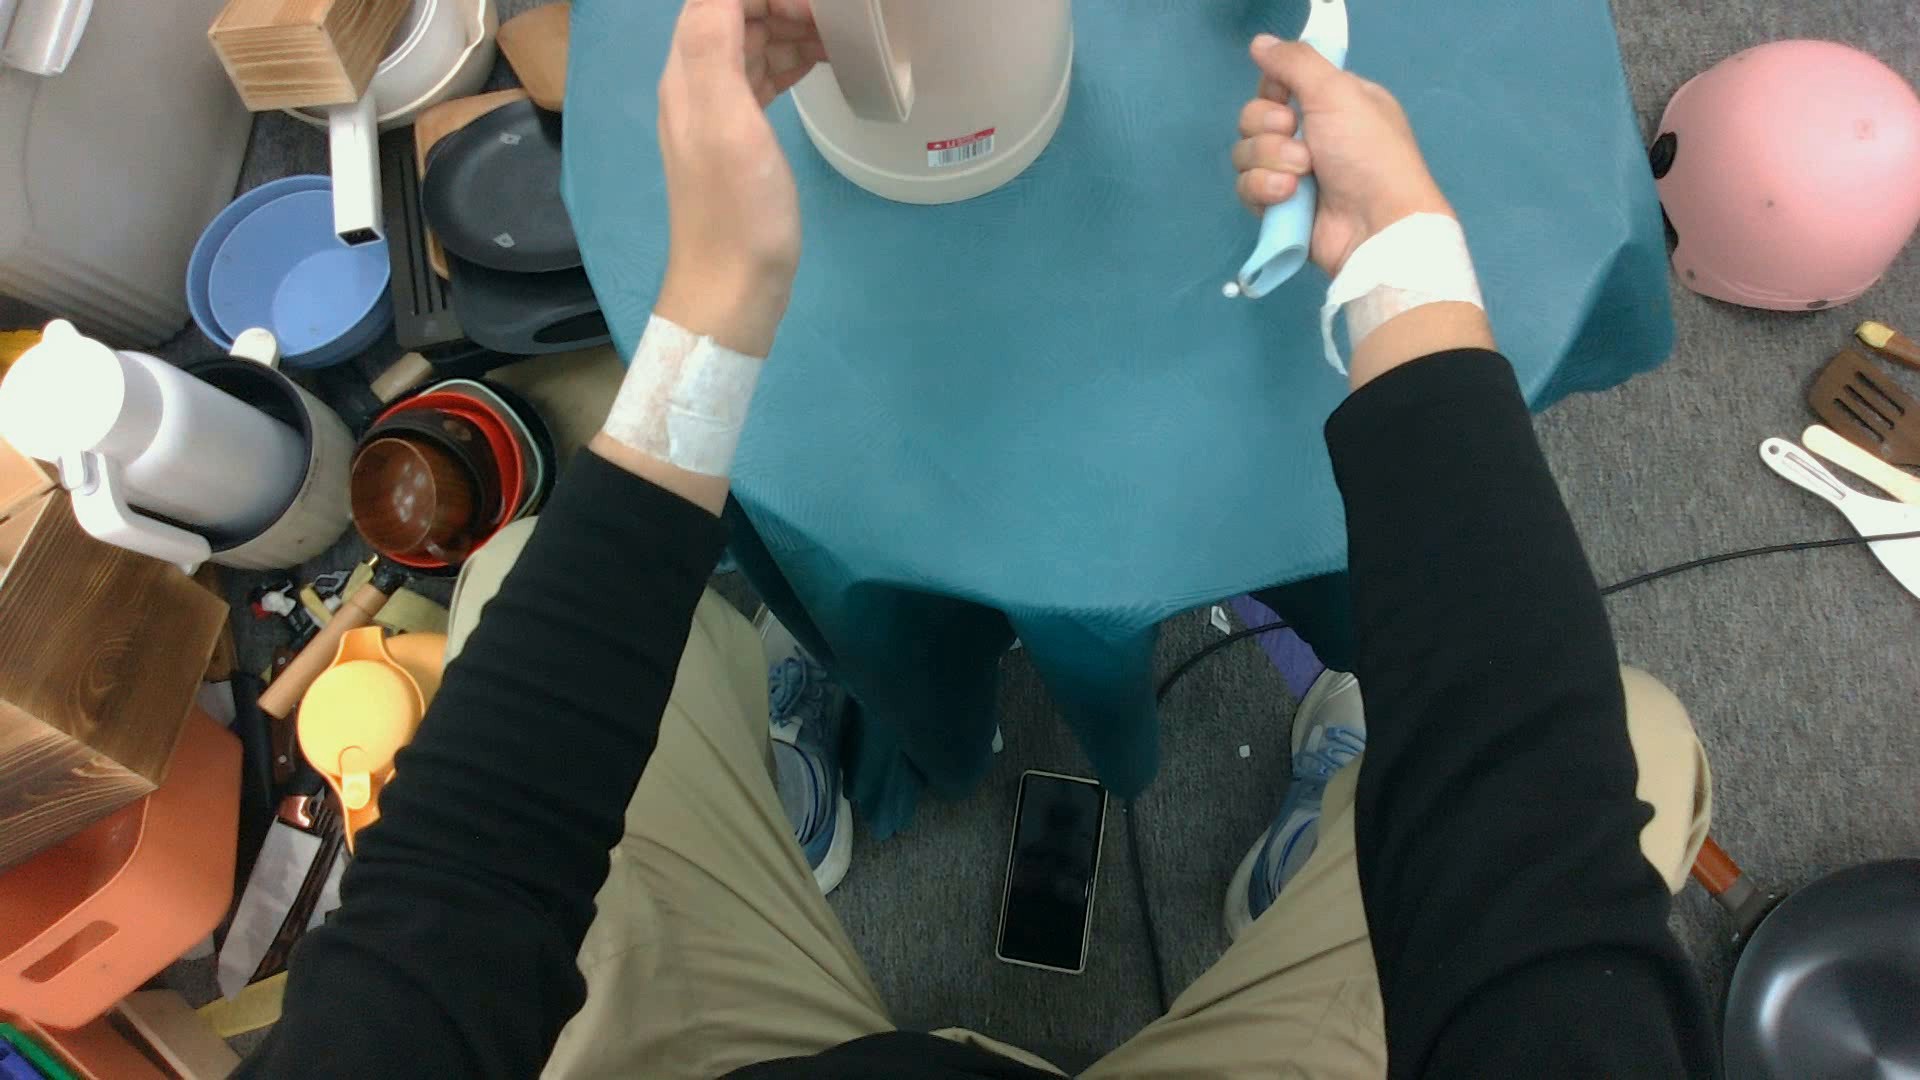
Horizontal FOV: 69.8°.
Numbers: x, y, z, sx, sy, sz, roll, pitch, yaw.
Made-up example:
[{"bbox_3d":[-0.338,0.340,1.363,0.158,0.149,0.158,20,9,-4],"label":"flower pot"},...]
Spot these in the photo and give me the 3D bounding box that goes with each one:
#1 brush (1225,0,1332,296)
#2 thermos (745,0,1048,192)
[{"bbox_3d":[0.143,-0.273,0.716,0.083,0.084,0.326,19,73,-18],"label":"brush"},{"bbox_3d":[-0.039,-0.296,0.590,0.175,0.405,0.207,6,79,2],"label":"thermos"}]
